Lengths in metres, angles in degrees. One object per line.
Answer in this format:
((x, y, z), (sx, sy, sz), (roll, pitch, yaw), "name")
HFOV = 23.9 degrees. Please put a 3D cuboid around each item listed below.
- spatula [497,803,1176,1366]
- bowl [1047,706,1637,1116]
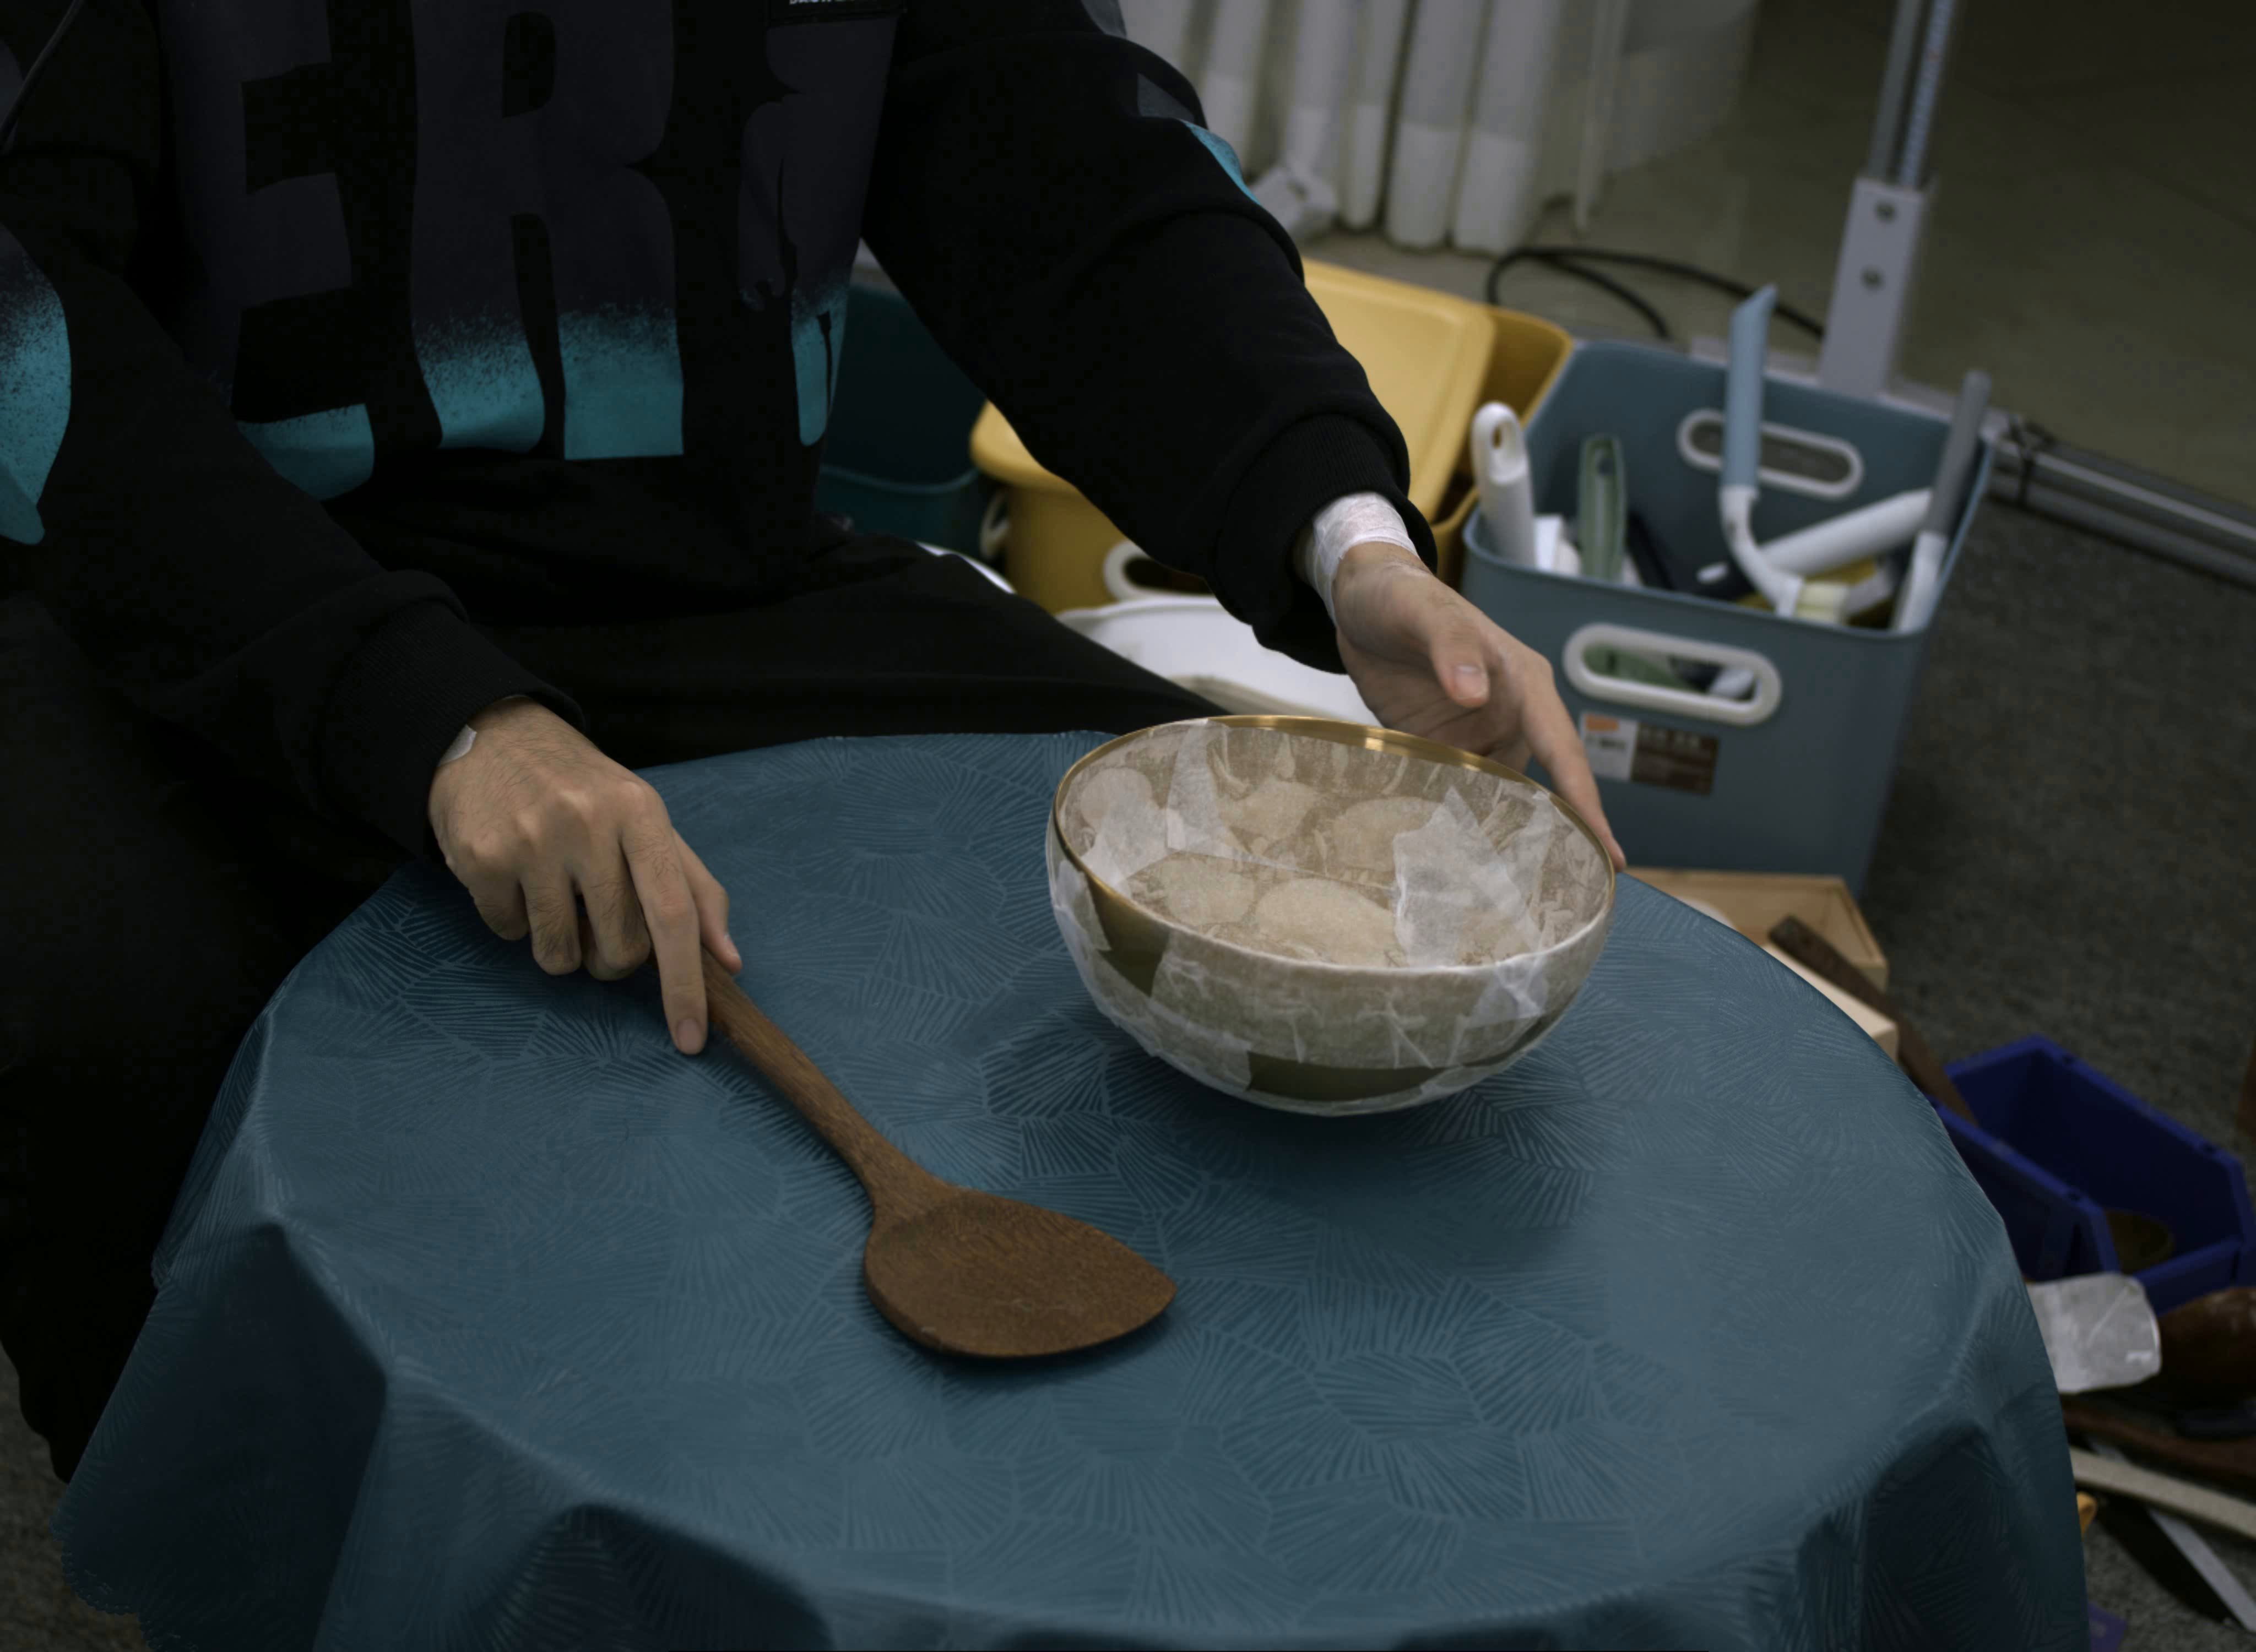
((-0.121, 0.080, 1.832), (0.095, 0.016, 0.389), (-11, 34, -33), "spatula")
((0.069, 0.042, 1.872), (0.214, 0.094, 0.216), (5, 24, -3), "bowl")
